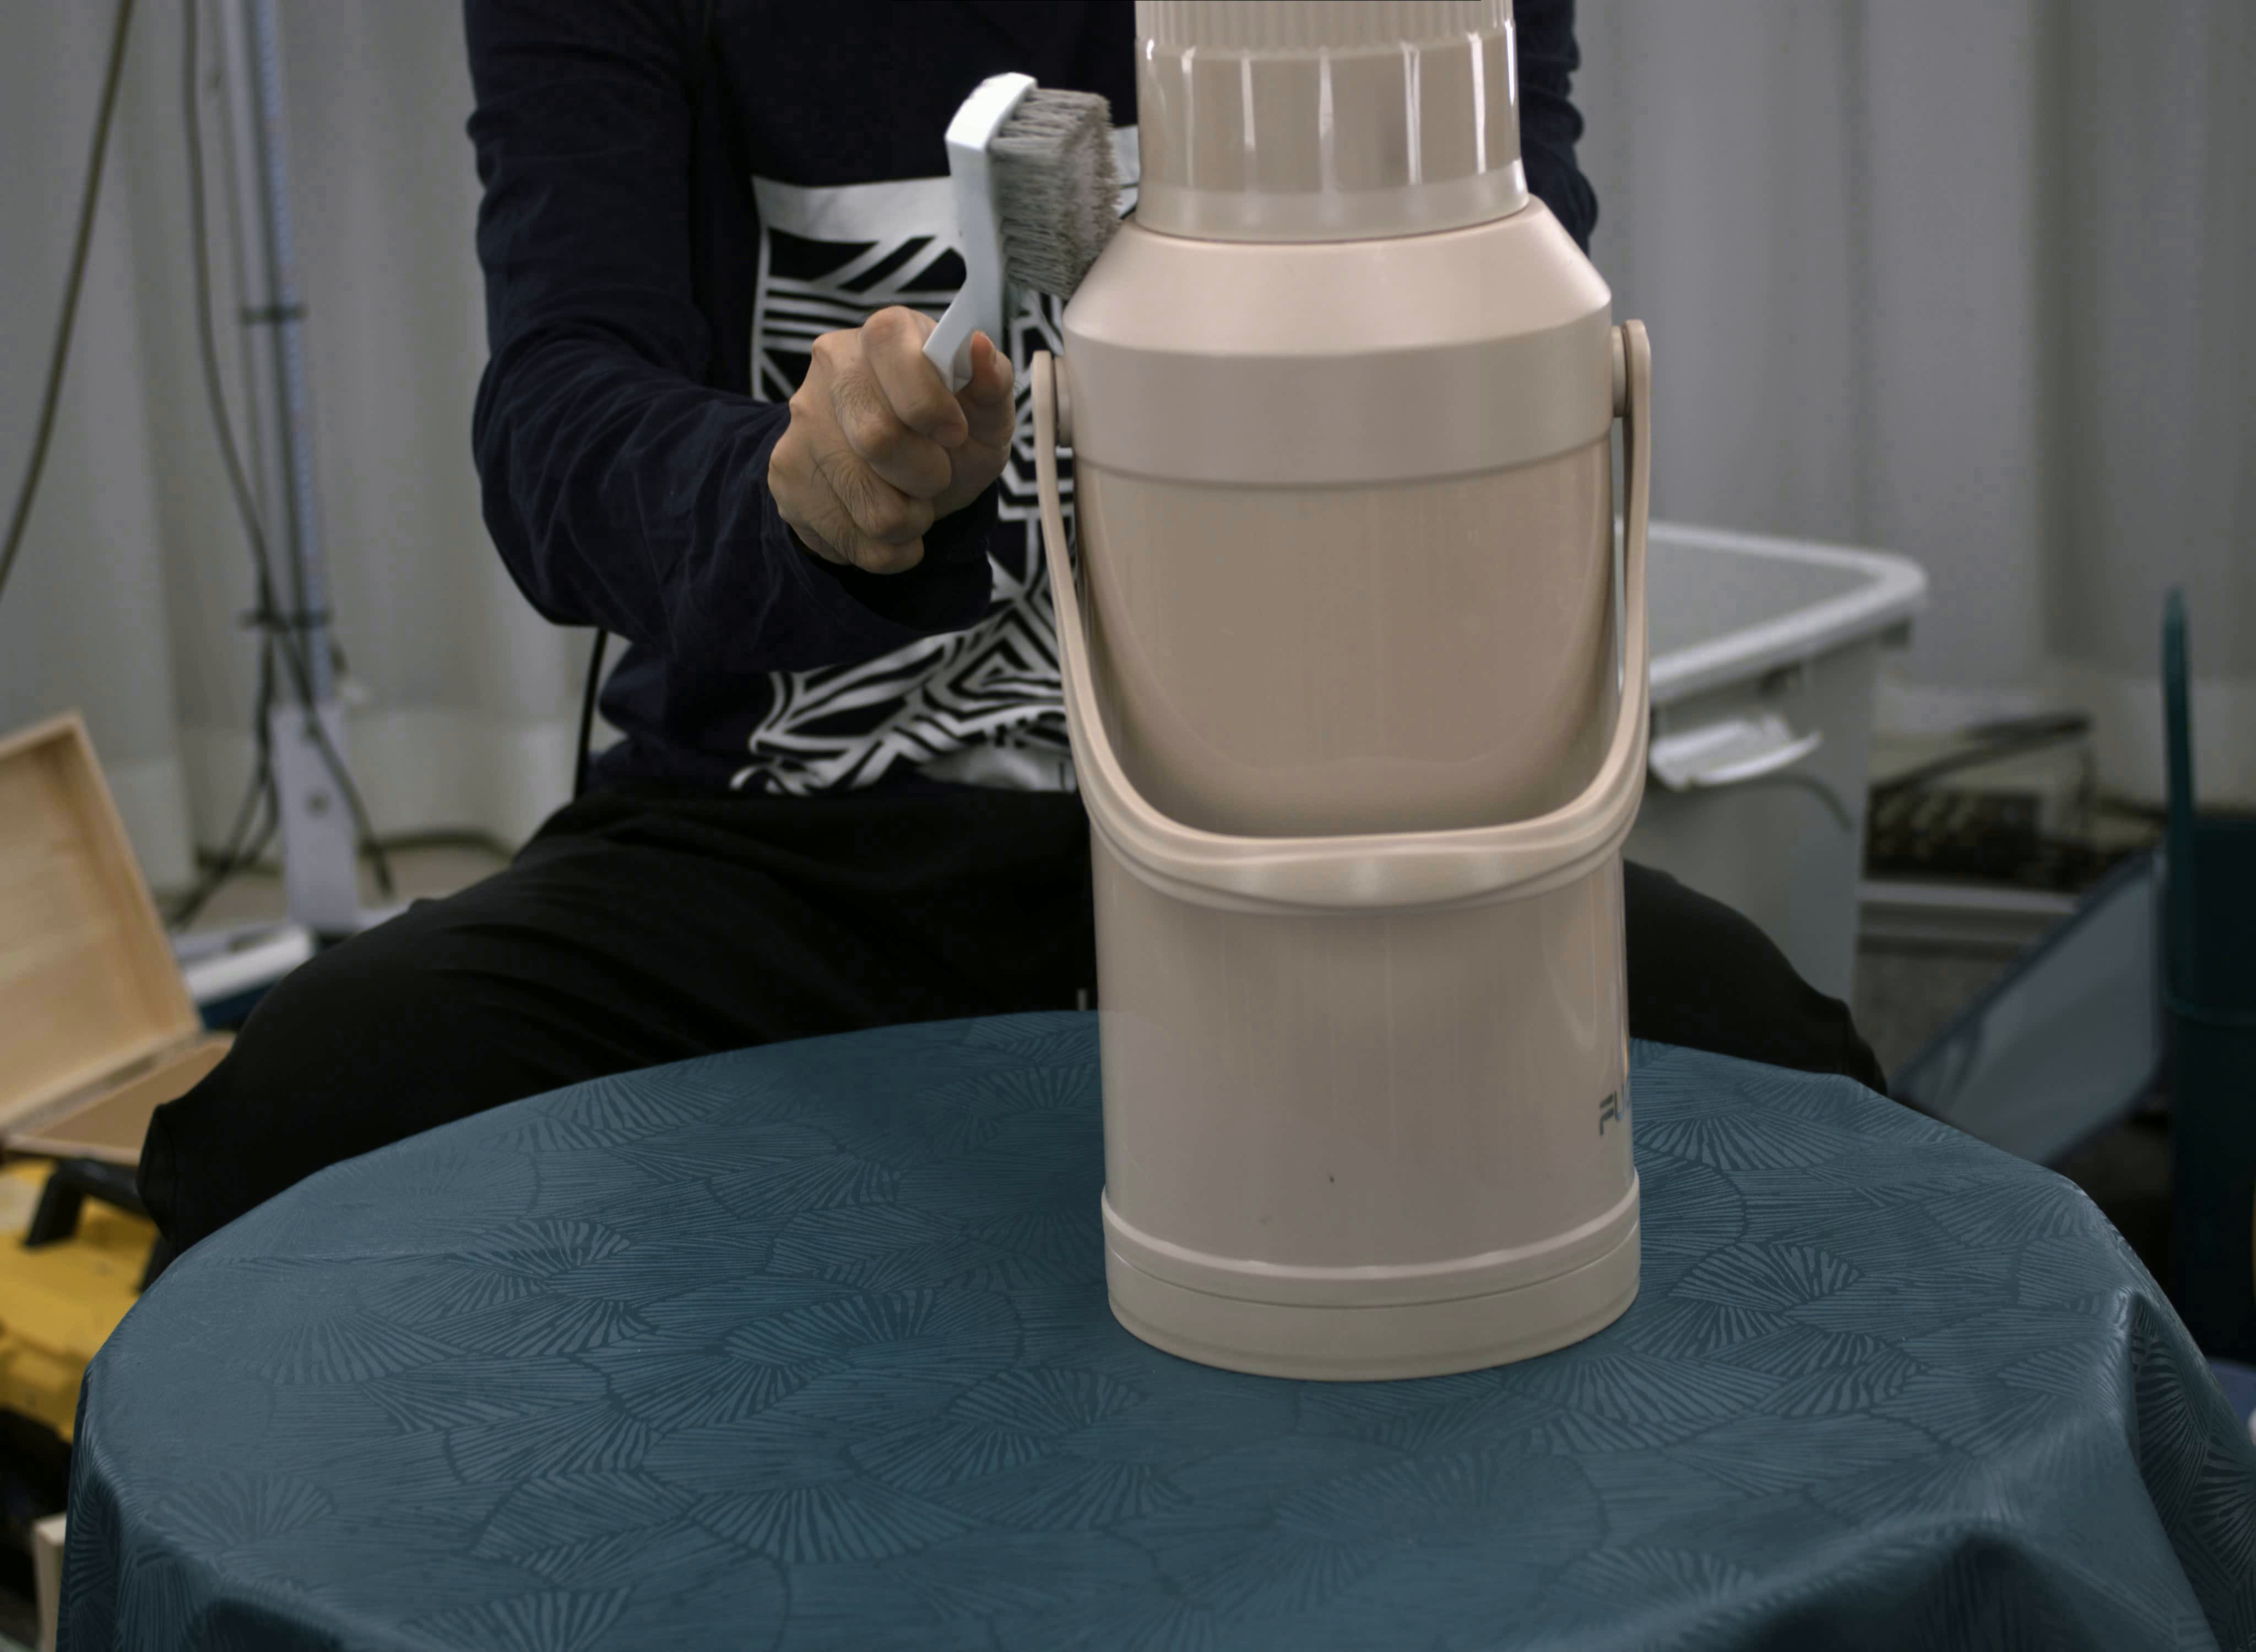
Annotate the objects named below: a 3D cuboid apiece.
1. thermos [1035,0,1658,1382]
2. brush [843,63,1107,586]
[{"bbox_3d":[0.066,-0.058,1.586,0.175,0.405,0.208,-5,14,-2],"label":"thermos"},{"bbox_3d":[-0.045,-0.139,1.636,0.050,0.241,0.035,26,55,5],"label":"brush"}]
